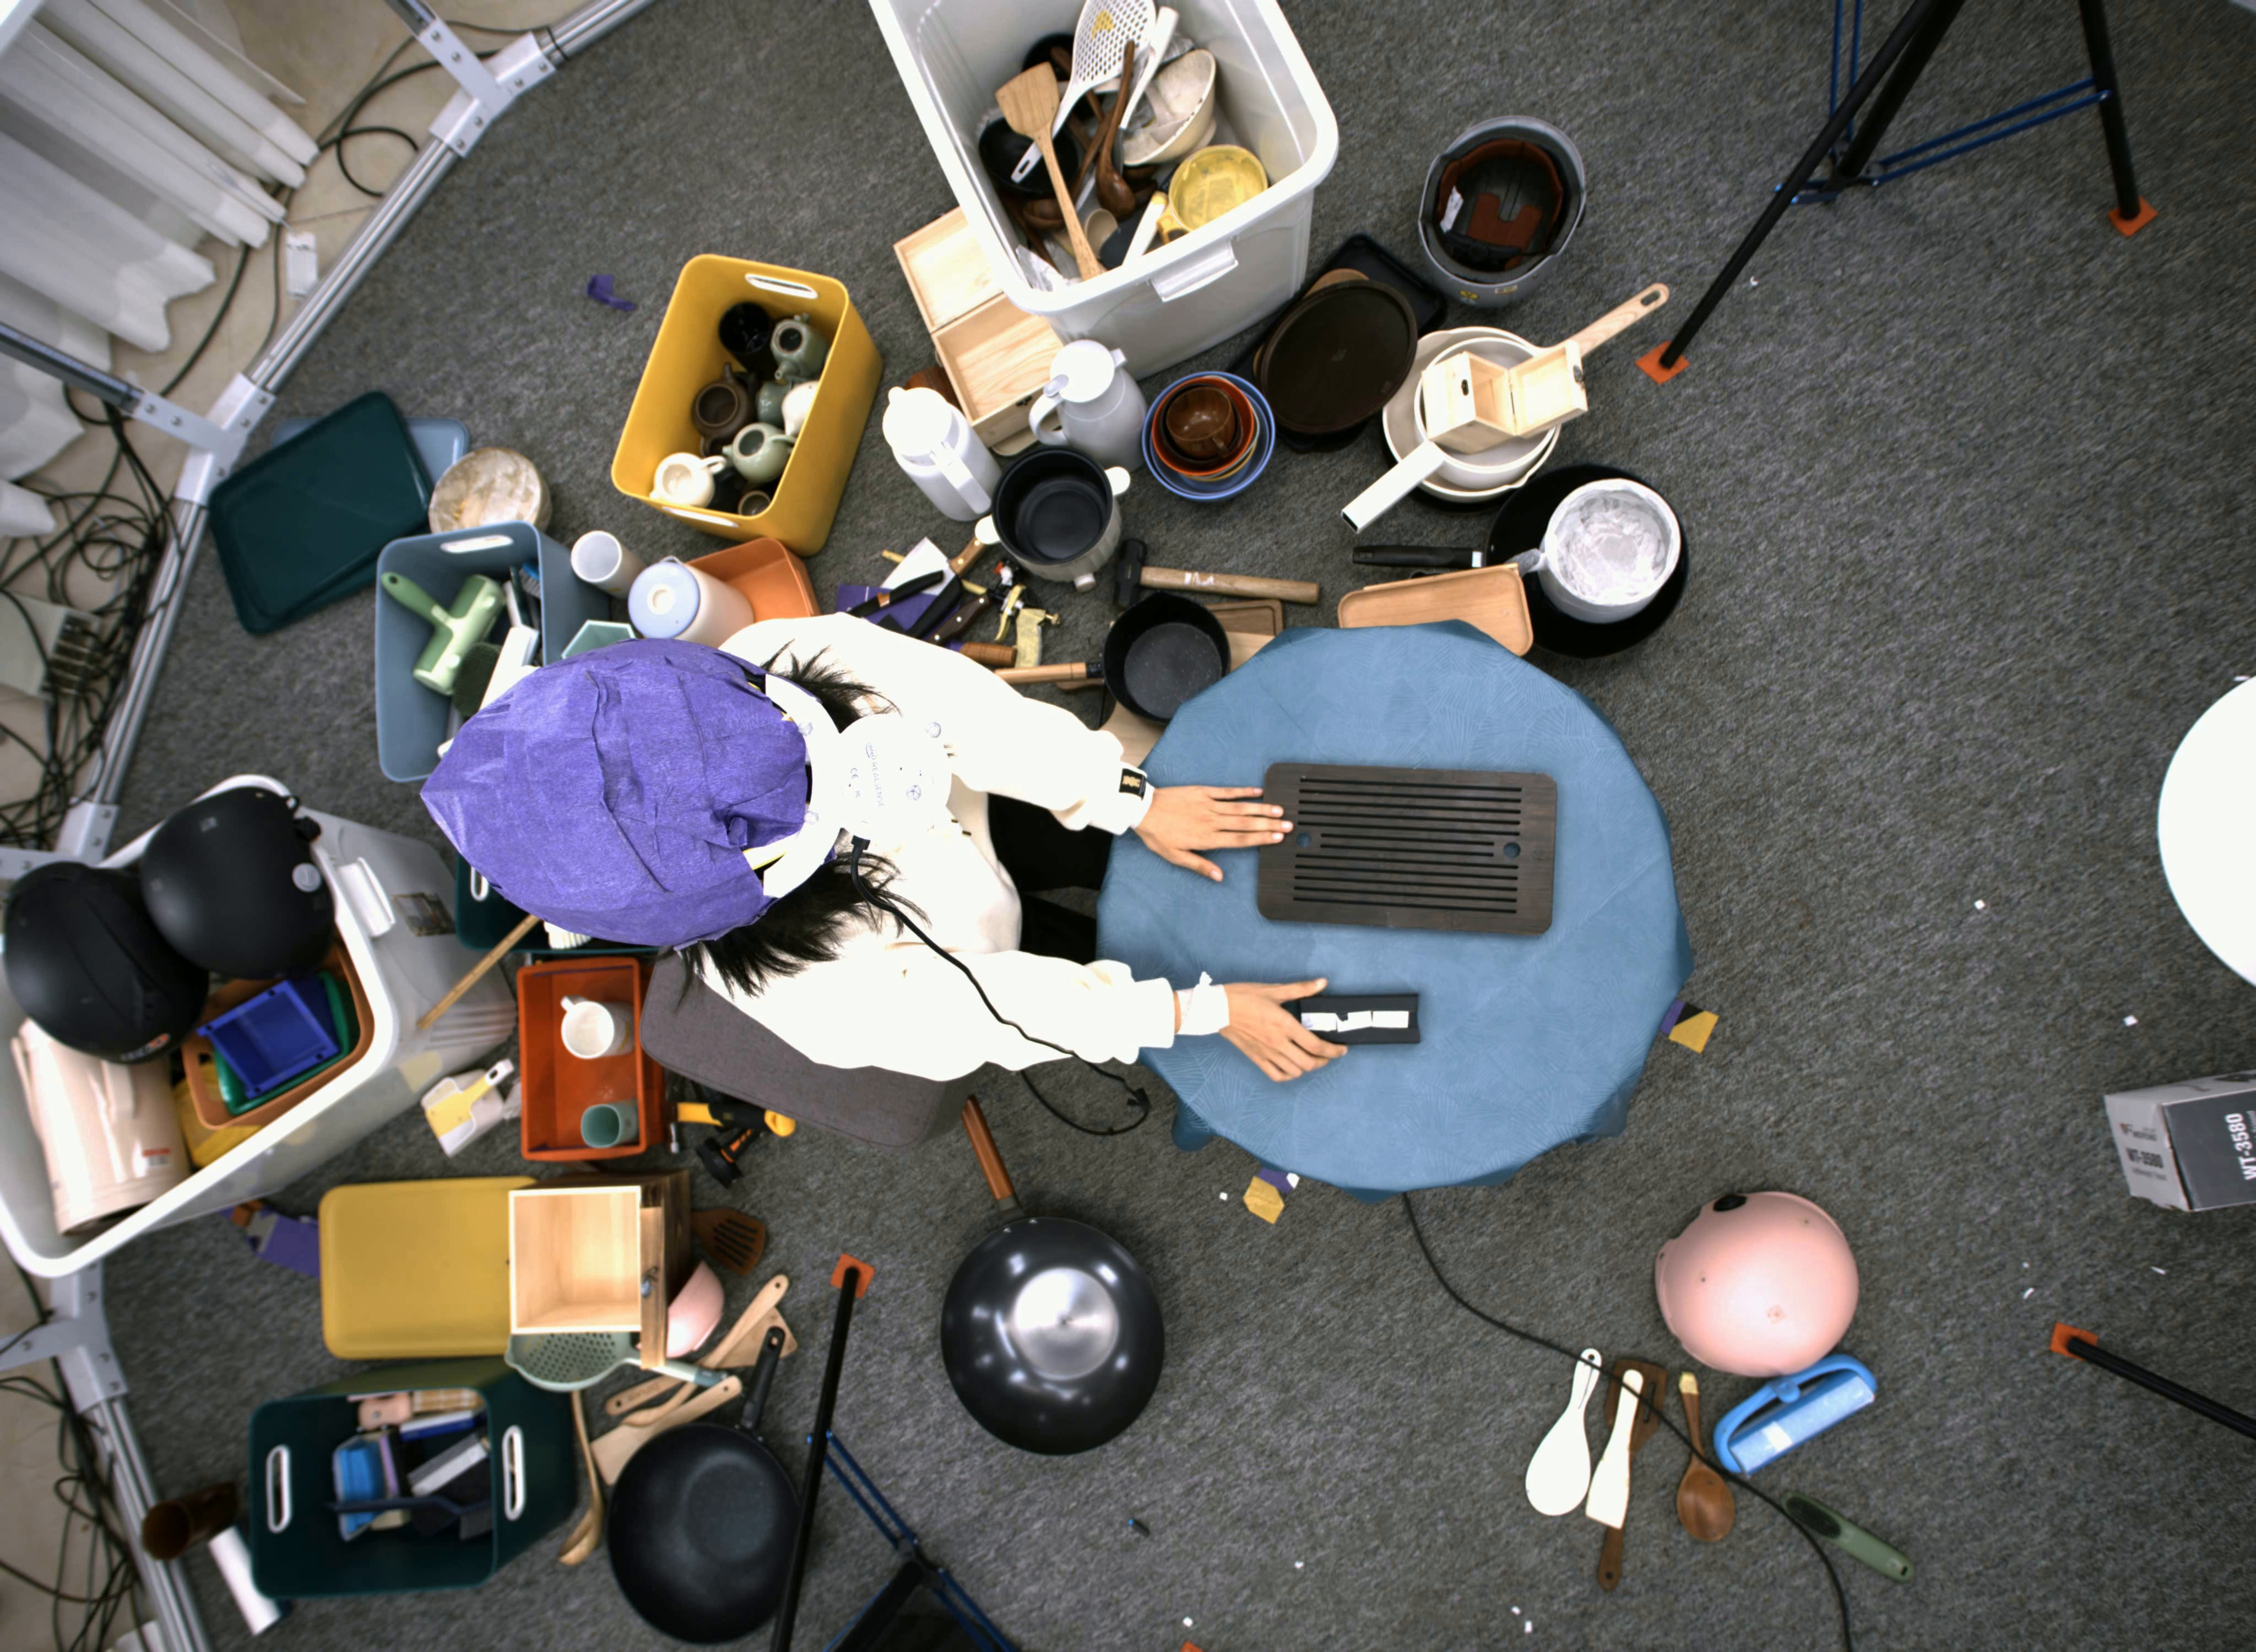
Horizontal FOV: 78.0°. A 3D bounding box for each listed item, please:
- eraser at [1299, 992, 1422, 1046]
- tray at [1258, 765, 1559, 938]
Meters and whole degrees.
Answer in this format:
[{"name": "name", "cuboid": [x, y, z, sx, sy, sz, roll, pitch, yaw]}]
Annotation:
[{"name": "eraser", "cuboid": [0.242, 0.200, 1.445, 0.126, 0.030, 0.053, -3, 83, 12]}, {"name": "tray", "cuboid": [0.293, 0.024, 1.450, 0.307, 0.018, 0.169, 2, 87, 11]}]
